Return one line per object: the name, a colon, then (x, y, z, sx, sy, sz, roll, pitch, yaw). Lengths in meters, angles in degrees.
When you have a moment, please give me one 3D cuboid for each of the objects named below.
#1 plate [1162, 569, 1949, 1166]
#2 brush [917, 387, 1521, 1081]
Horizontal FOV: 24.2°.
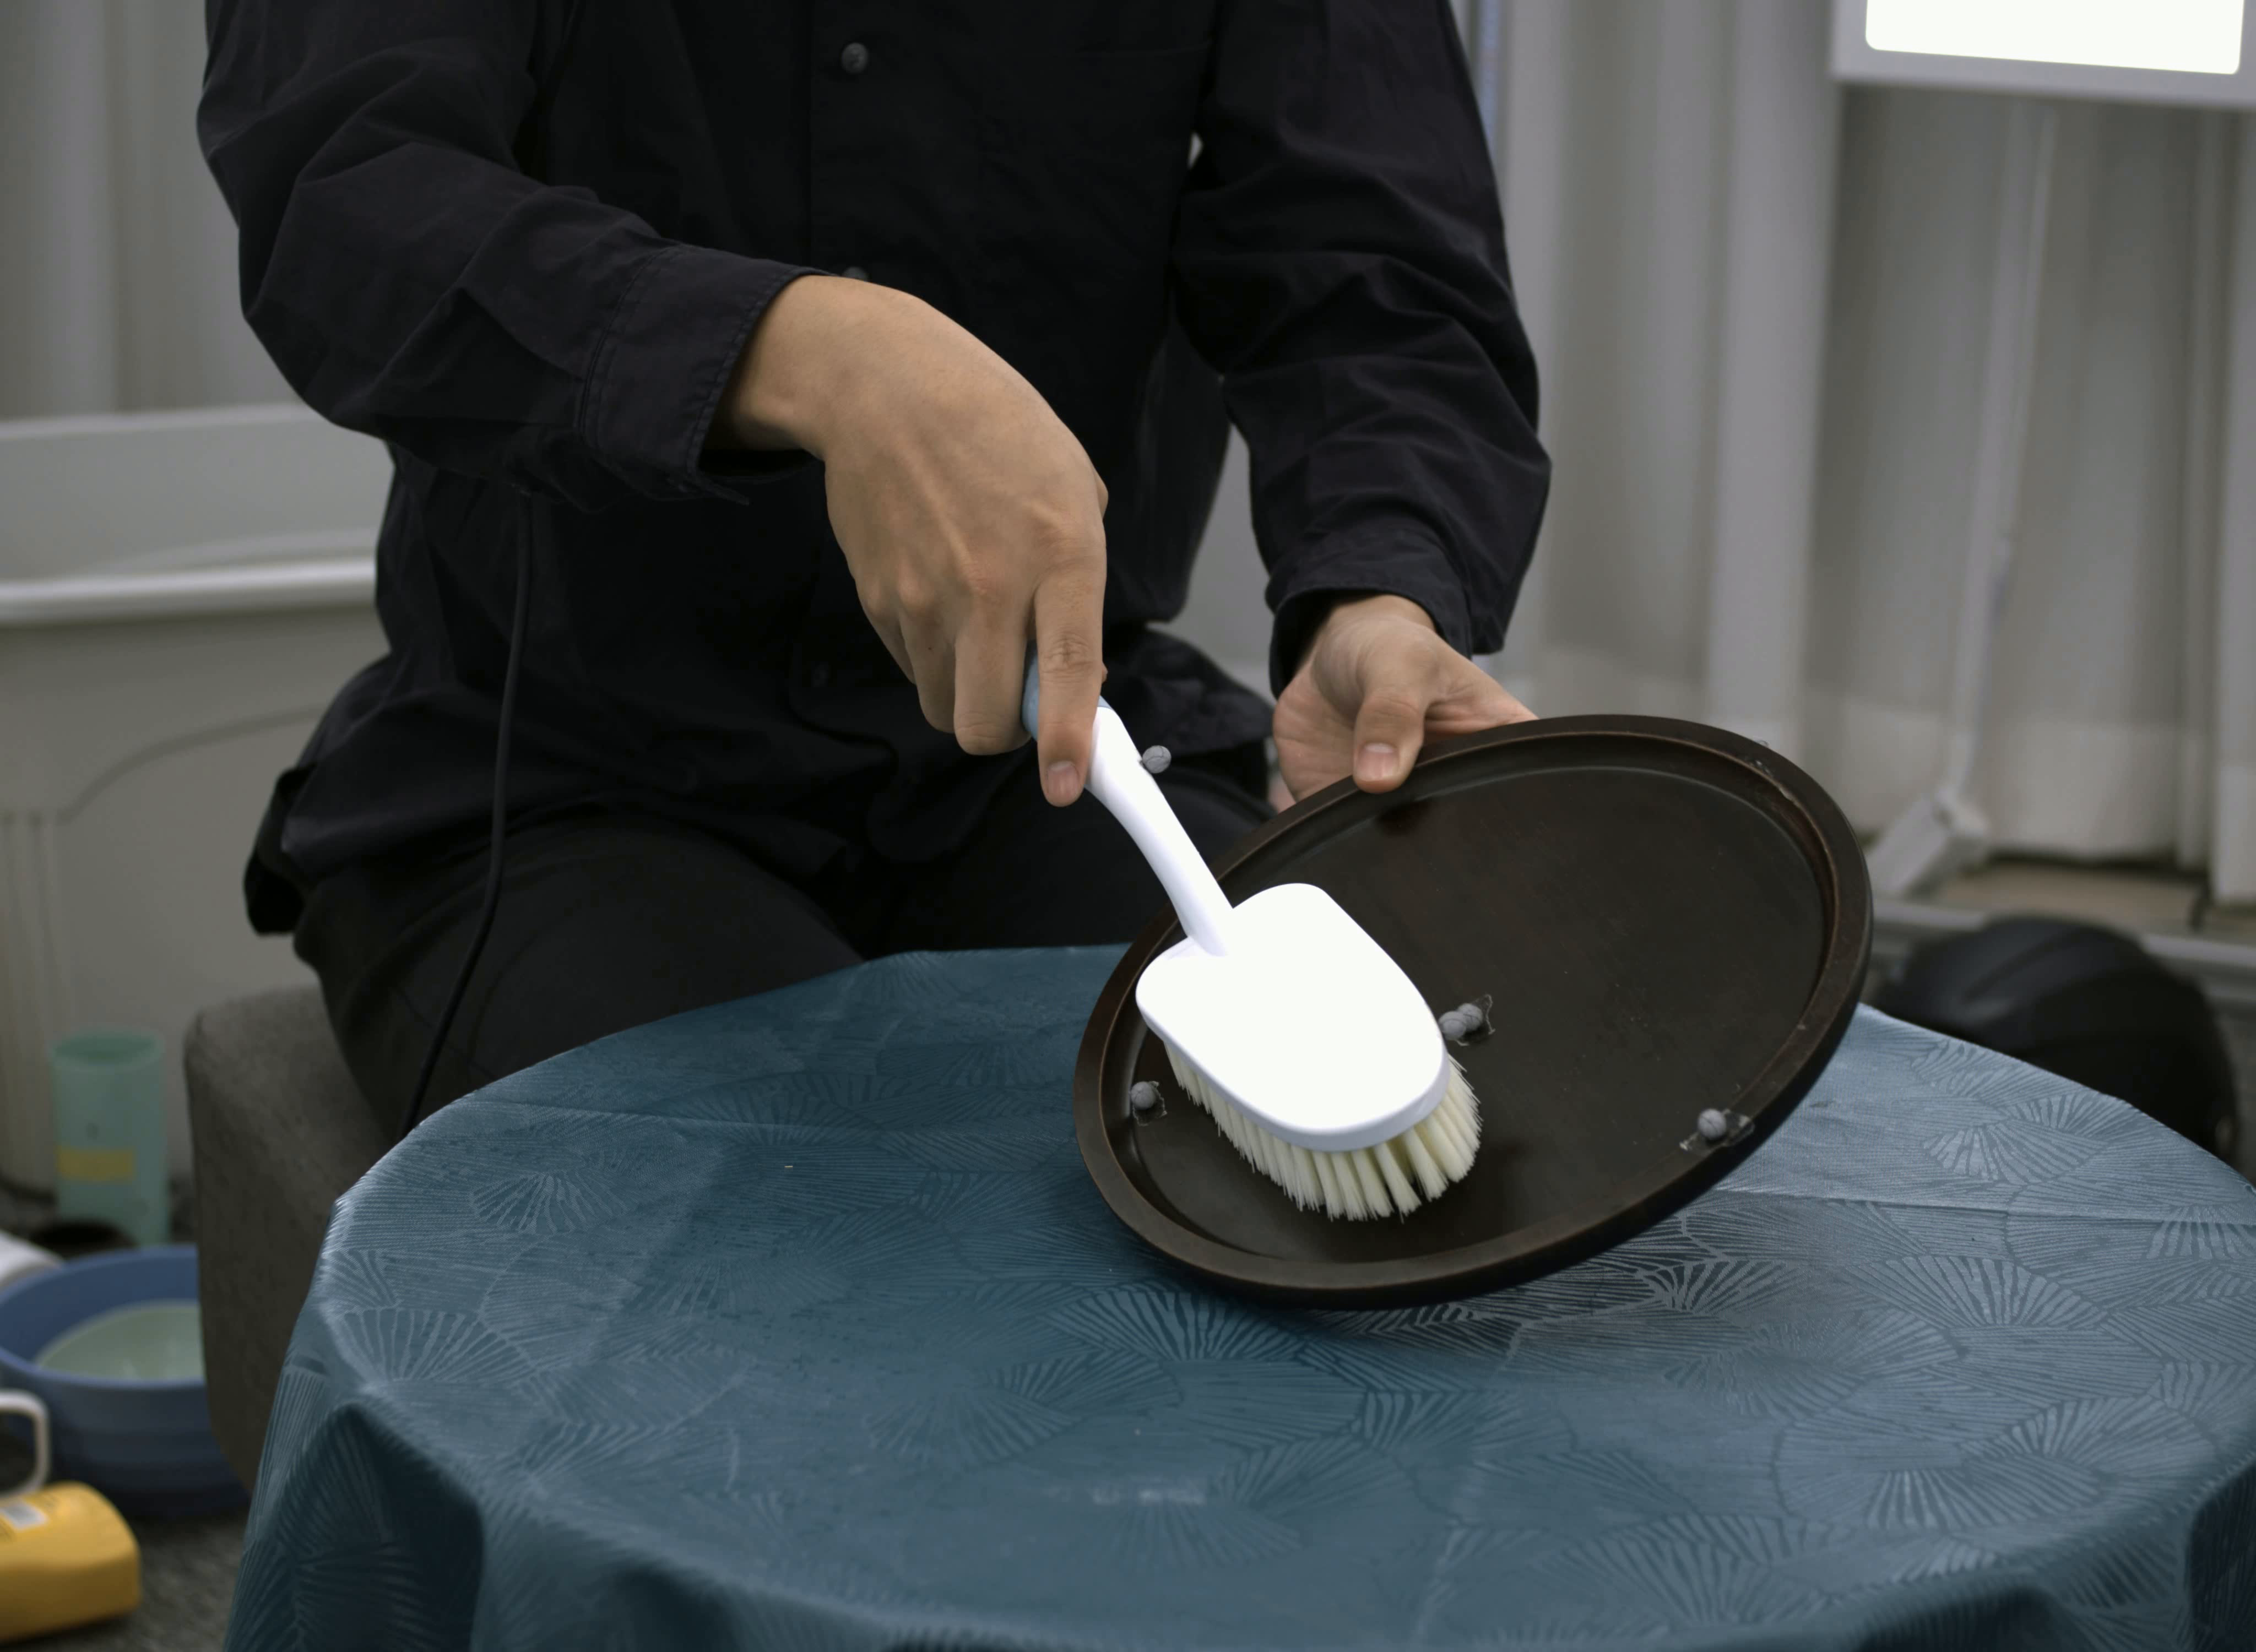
plate: (0.132, 0.014, 1.625, 0.253, 0.029, 0.252, -17, 36, 13)
brush: (0.028, -0.026, 1.660, 0.083, 0.085, 0.321, -3, 38, -37)
